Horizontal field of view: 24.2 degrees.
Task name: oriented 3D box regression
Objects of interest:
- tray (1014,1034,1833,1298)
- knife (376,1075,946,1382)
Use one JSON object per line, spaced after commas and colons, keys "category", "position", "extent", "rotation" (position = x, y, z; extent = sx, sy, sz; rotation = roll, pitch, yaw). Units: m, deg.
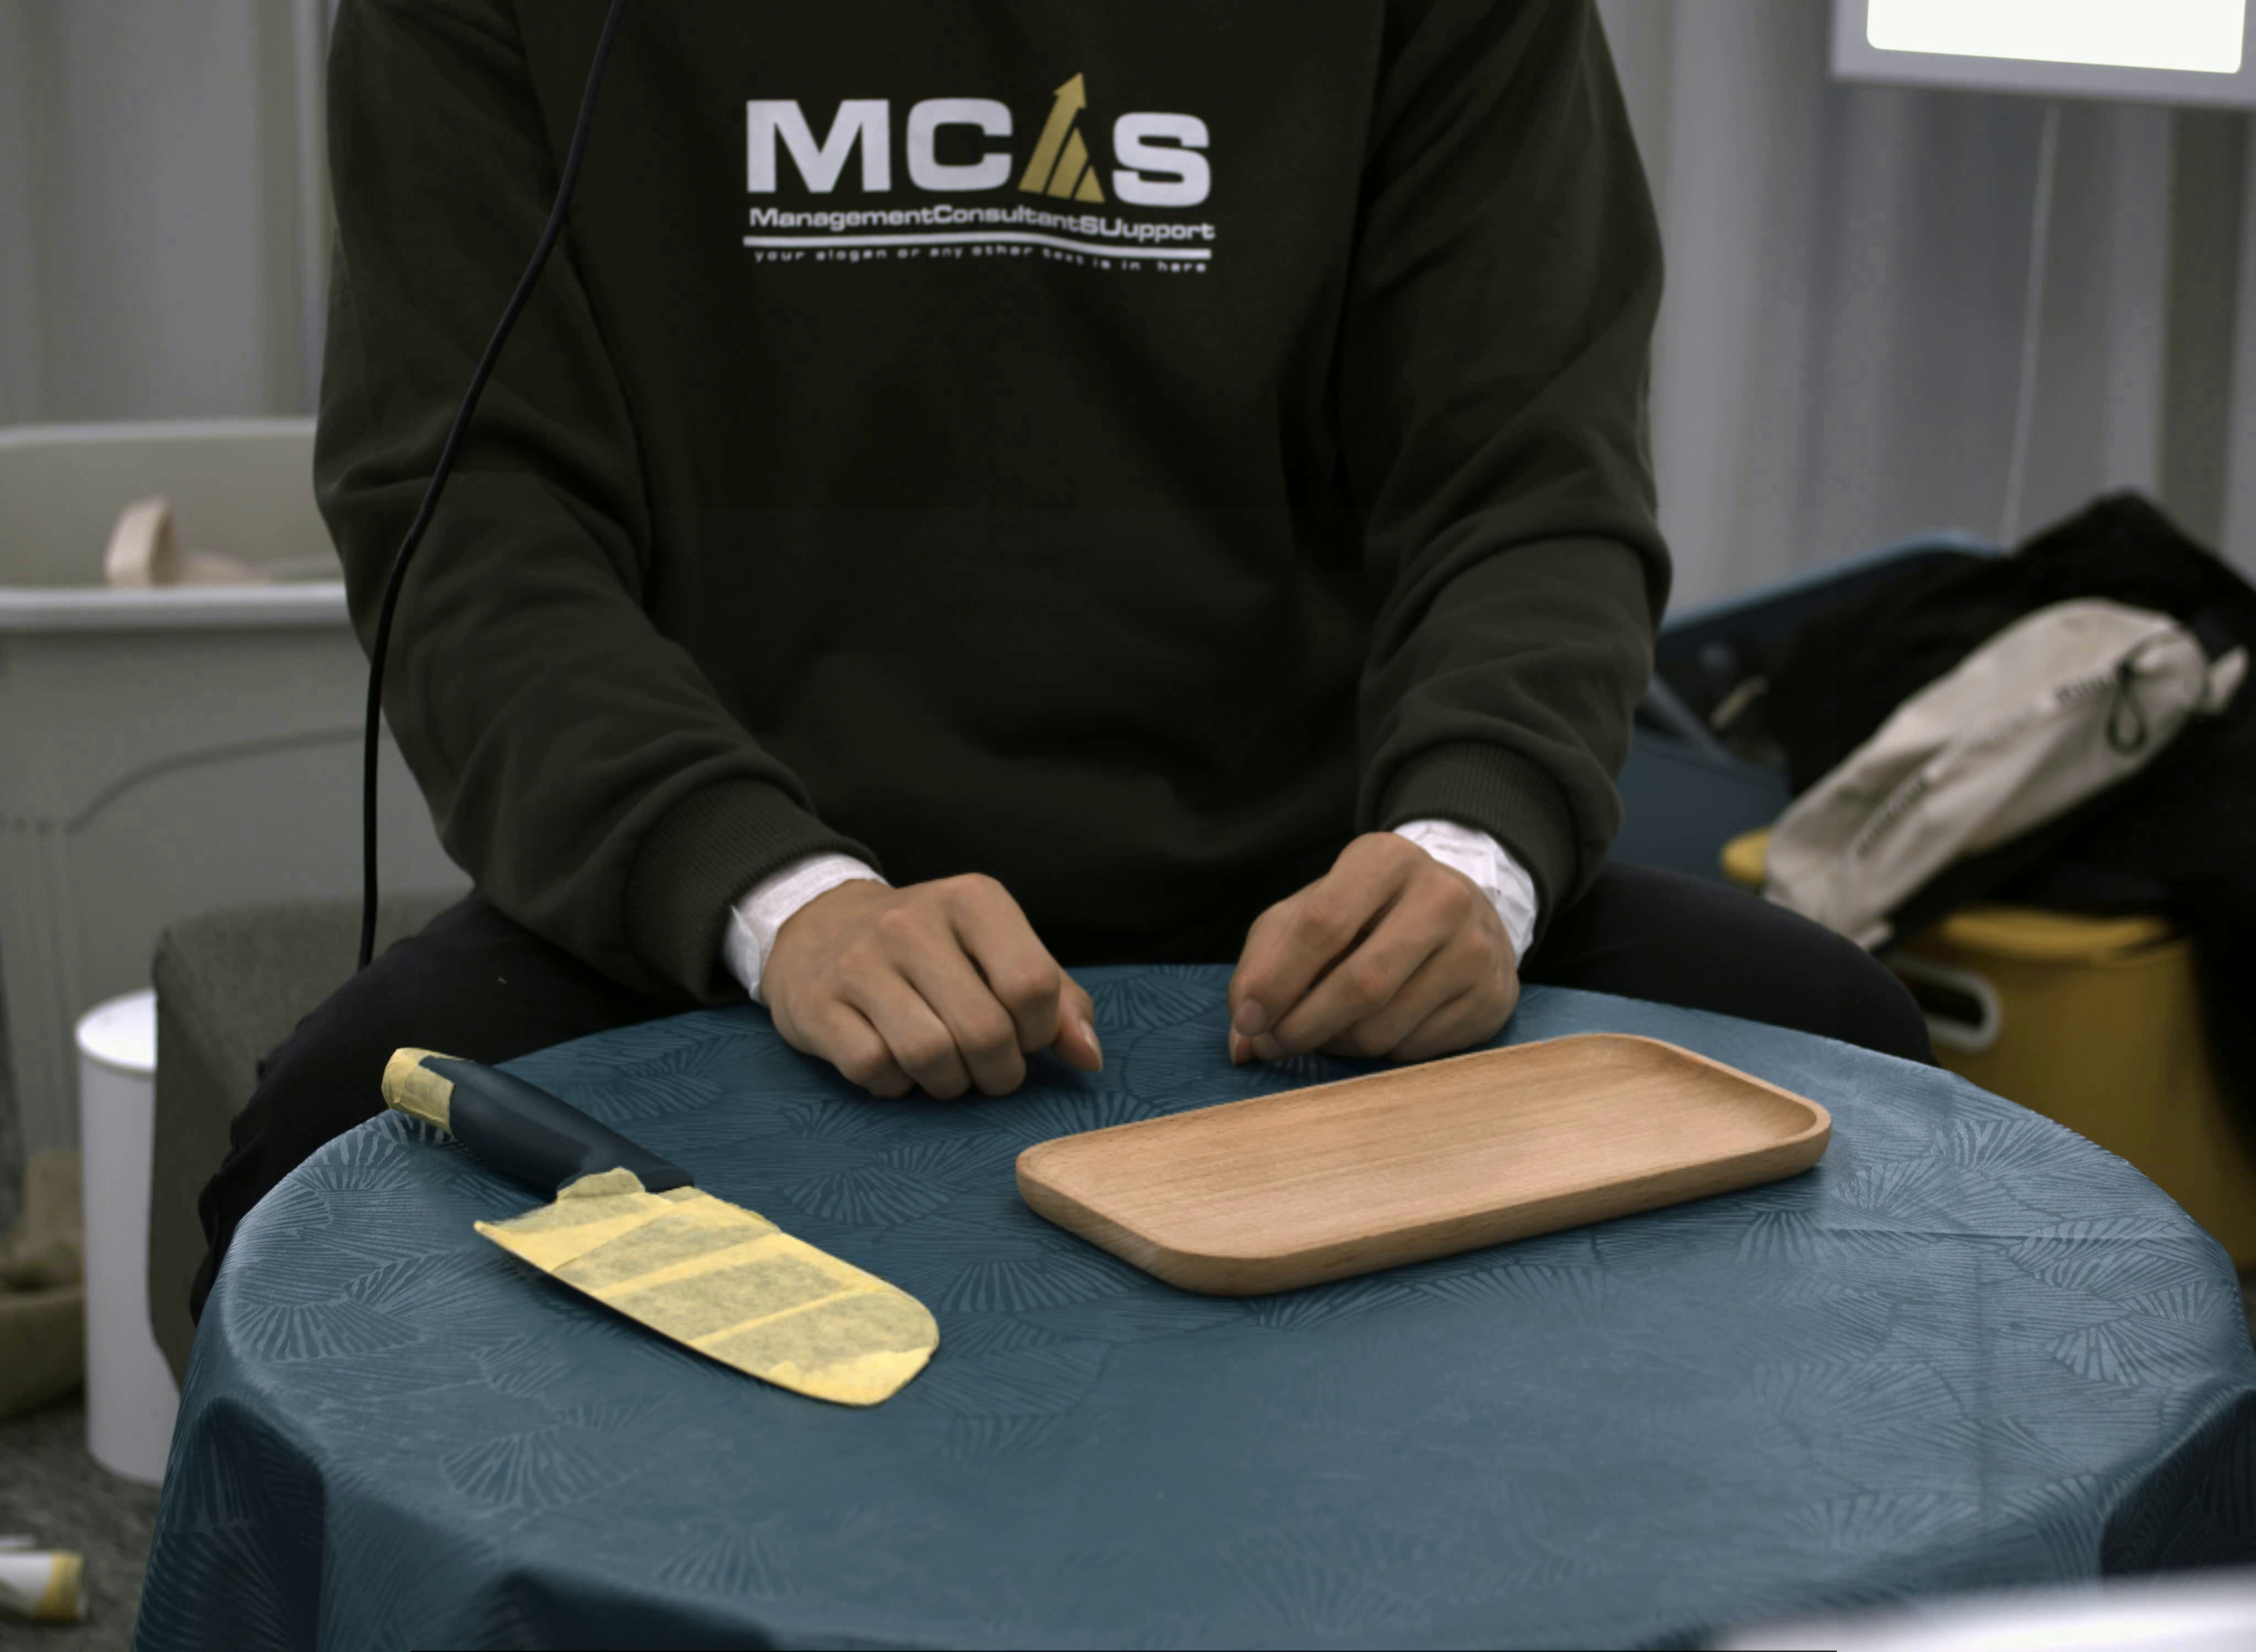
{"category": "tray", "position": [0.093, 0.103, 1.630], "extent": [0.252, 0.023, 0.129], "rotation": [-10, 16, -32]}
{"category": "knife", "position": [-0.151, 0.120, 1.563], "extent": [0.081, 0.027, 0.285], "rotation": [-10, 19, -38]}
